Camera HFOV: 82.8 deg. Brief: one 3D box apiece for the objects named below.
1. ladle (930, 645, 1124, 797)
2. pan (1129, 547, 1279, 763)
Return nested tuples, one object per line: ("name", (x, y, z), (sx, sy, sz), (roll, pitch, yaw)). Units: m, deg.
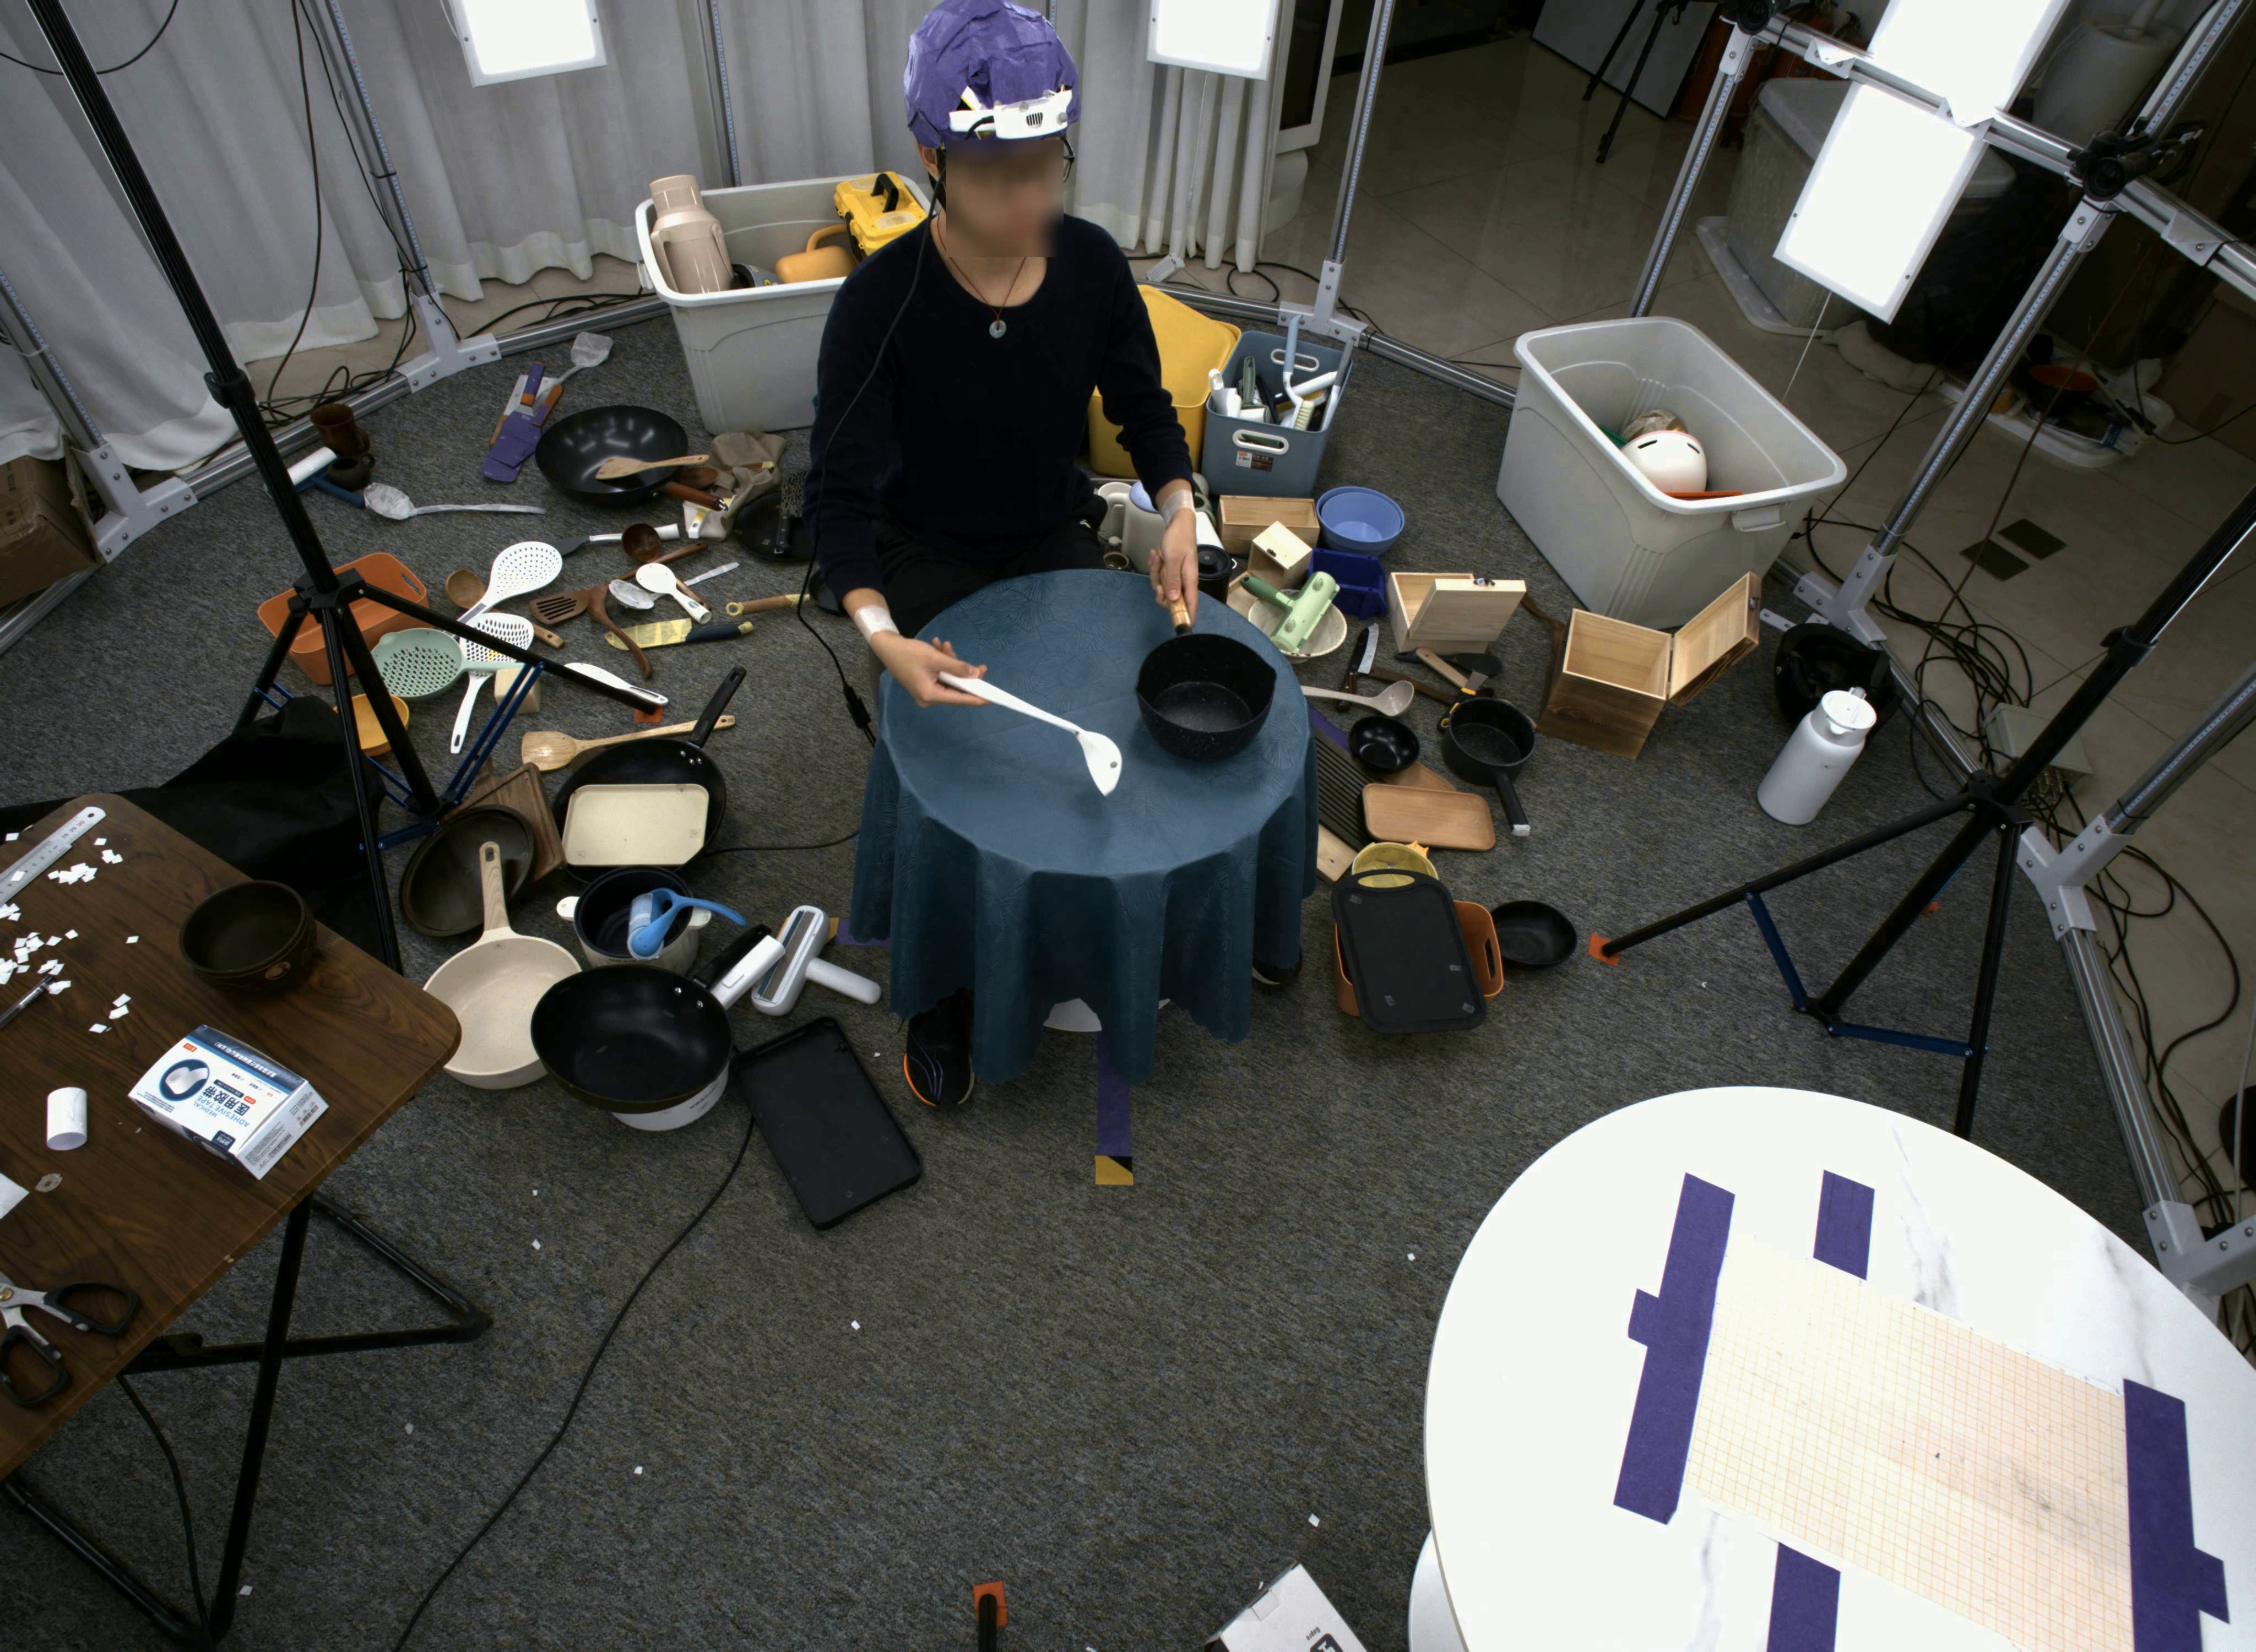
("ladle", (-0.131, -0.136, 1.663), (0.292, 0.089, 0.070), (29, 75, -2))
("pan", (0.085, -0.241, 1.806), (0.207, 0.105, 0.351), (-10, 54, -10))
